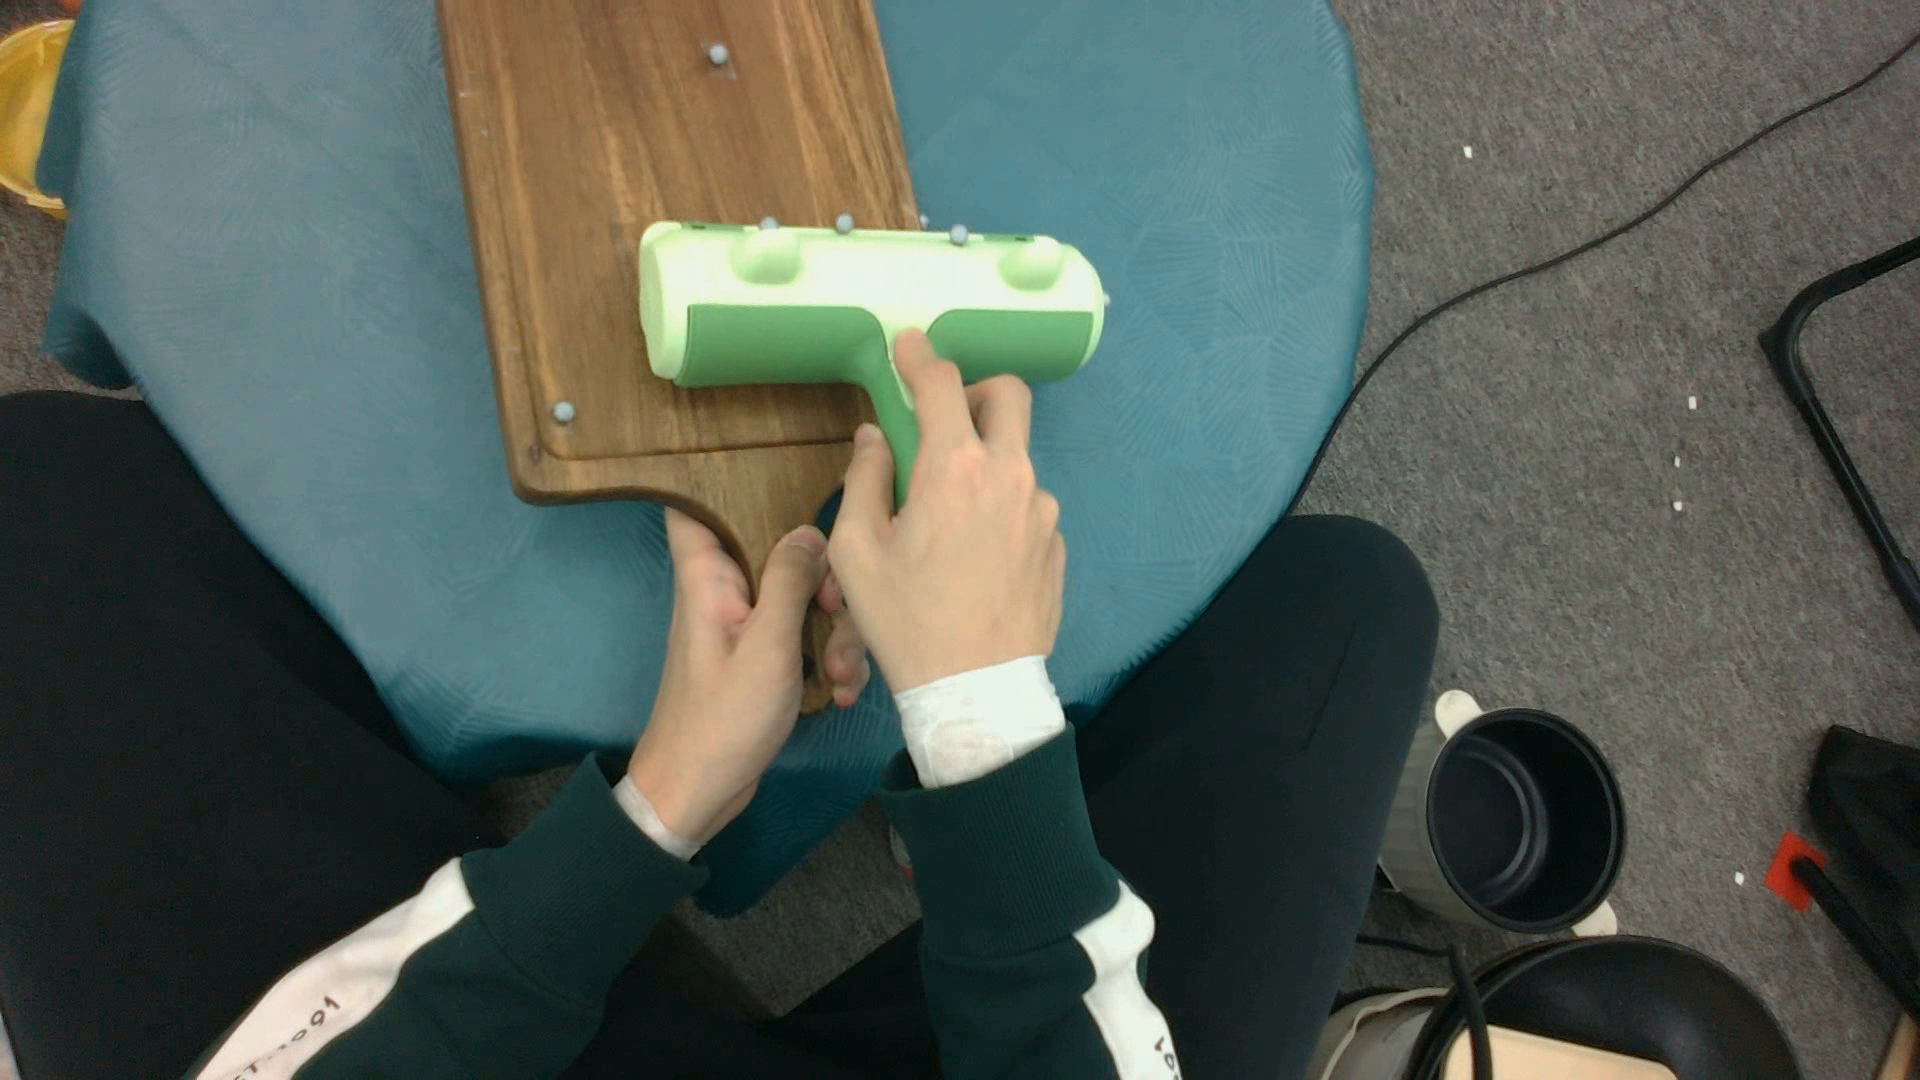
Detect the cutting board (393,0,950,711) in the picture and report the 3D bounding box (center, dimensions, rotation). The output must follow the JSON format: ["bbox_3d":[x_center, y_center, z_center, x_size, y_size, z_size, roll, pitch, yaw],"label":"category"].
[{"bbox_3d":[-0.110,-0.100,0.589,0.201,0.023,0.352,-9,79,-28],"label":"cutting board"}]

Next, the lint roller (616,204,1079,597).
[{"bbox_3d":[-0.023,-0.070,0.548,0.199,0.082,0.184,-4,52,-26],"label":"lint roller"}]
